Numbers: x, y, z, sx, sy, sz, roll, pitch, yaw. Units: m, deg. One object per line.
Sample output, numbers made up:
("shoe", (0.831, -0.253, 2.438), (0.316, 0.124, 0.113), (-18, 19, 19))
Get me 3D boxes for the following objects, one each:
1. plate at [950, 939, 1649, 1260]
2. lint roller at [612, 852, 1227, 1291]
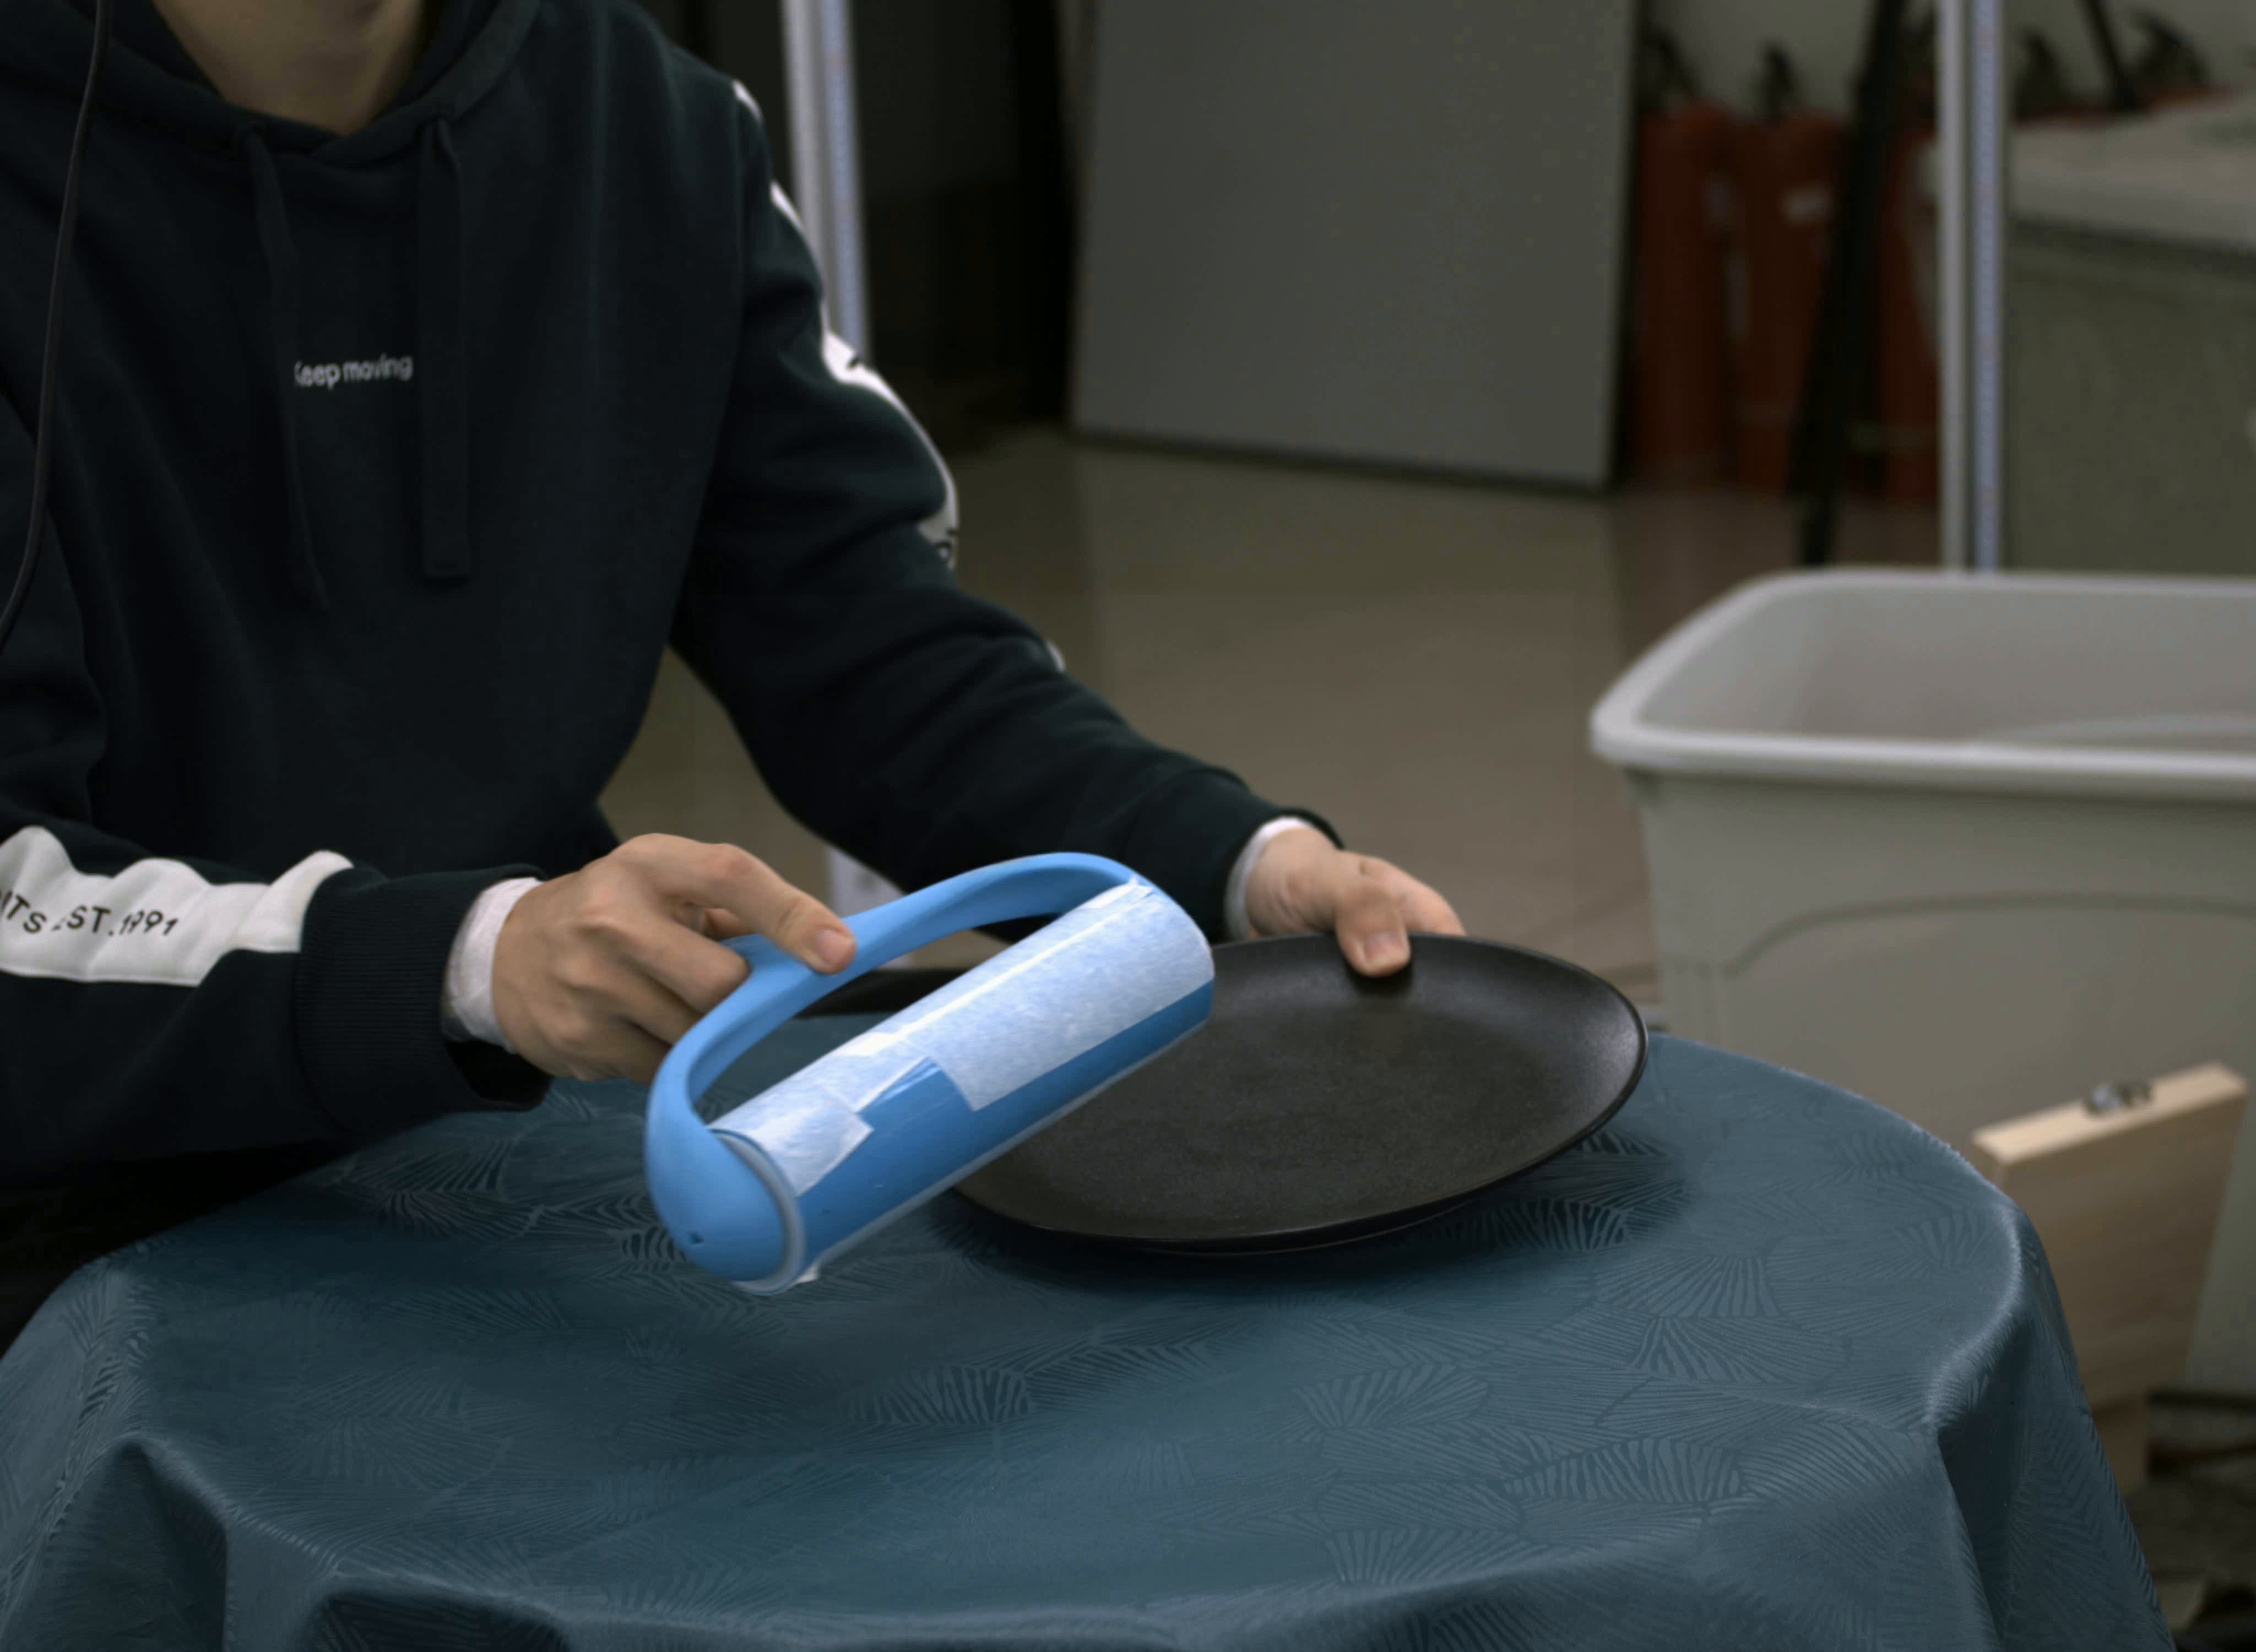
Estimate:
("plate", (0.053, 0.093, 1.774), (0.241, 0.023, 0.245), (-9, 20, 2))
("lint roller", (-0.095, 0.065, 1.662), (0.181, 0.068, 0.225), (11, 29, 36))
